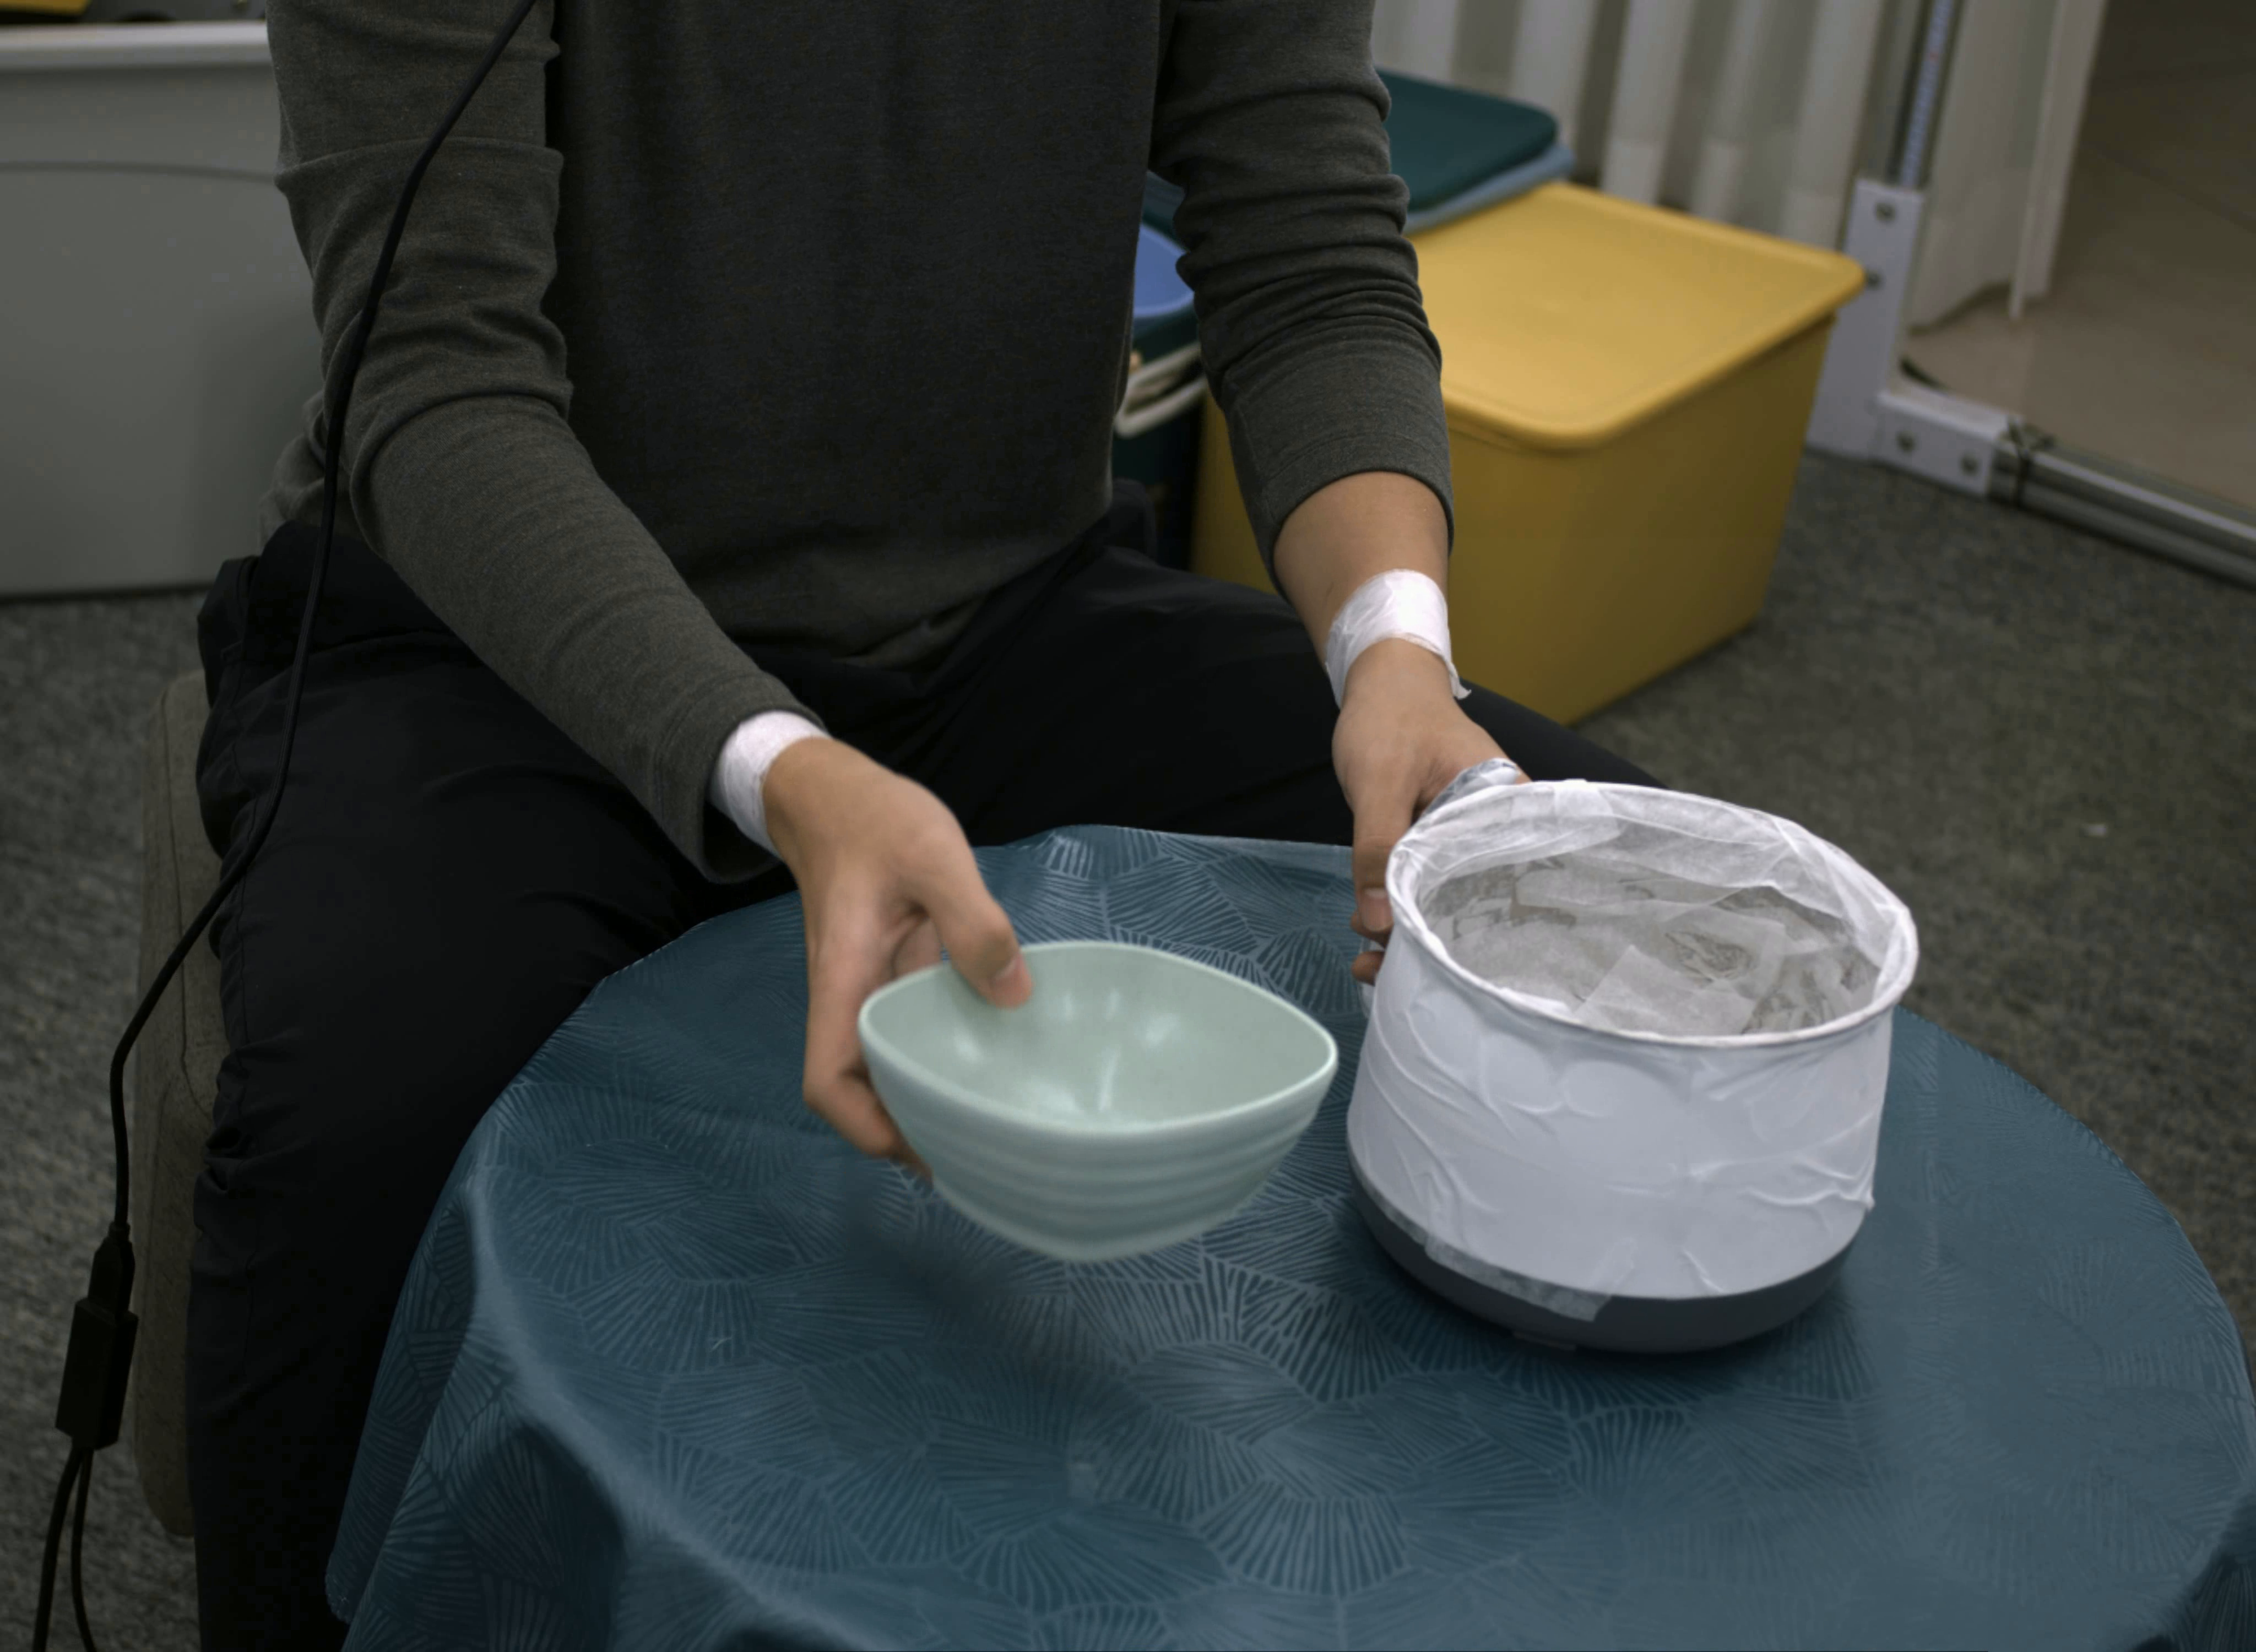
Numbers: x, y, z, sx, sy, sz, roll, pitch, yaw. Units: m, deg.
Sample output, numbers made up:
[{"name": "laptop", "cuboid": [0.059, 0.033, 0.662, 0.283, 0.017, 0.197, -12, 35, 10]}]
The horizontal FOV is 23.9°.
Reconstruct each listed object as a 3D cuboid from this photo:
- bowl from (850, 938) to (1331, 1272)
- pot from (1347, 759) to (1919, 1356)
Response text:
[{"name": "bowl", "cuboid": [-0.014, 0.092, 1.673, 0.151, 0.058, 0.152, 3, 23, -2]}, {"name": "pot", "cuboid": [0.152, 0.070, 1.795, 0.177, 0.136, 0.236, -9, 30, -27]}]
